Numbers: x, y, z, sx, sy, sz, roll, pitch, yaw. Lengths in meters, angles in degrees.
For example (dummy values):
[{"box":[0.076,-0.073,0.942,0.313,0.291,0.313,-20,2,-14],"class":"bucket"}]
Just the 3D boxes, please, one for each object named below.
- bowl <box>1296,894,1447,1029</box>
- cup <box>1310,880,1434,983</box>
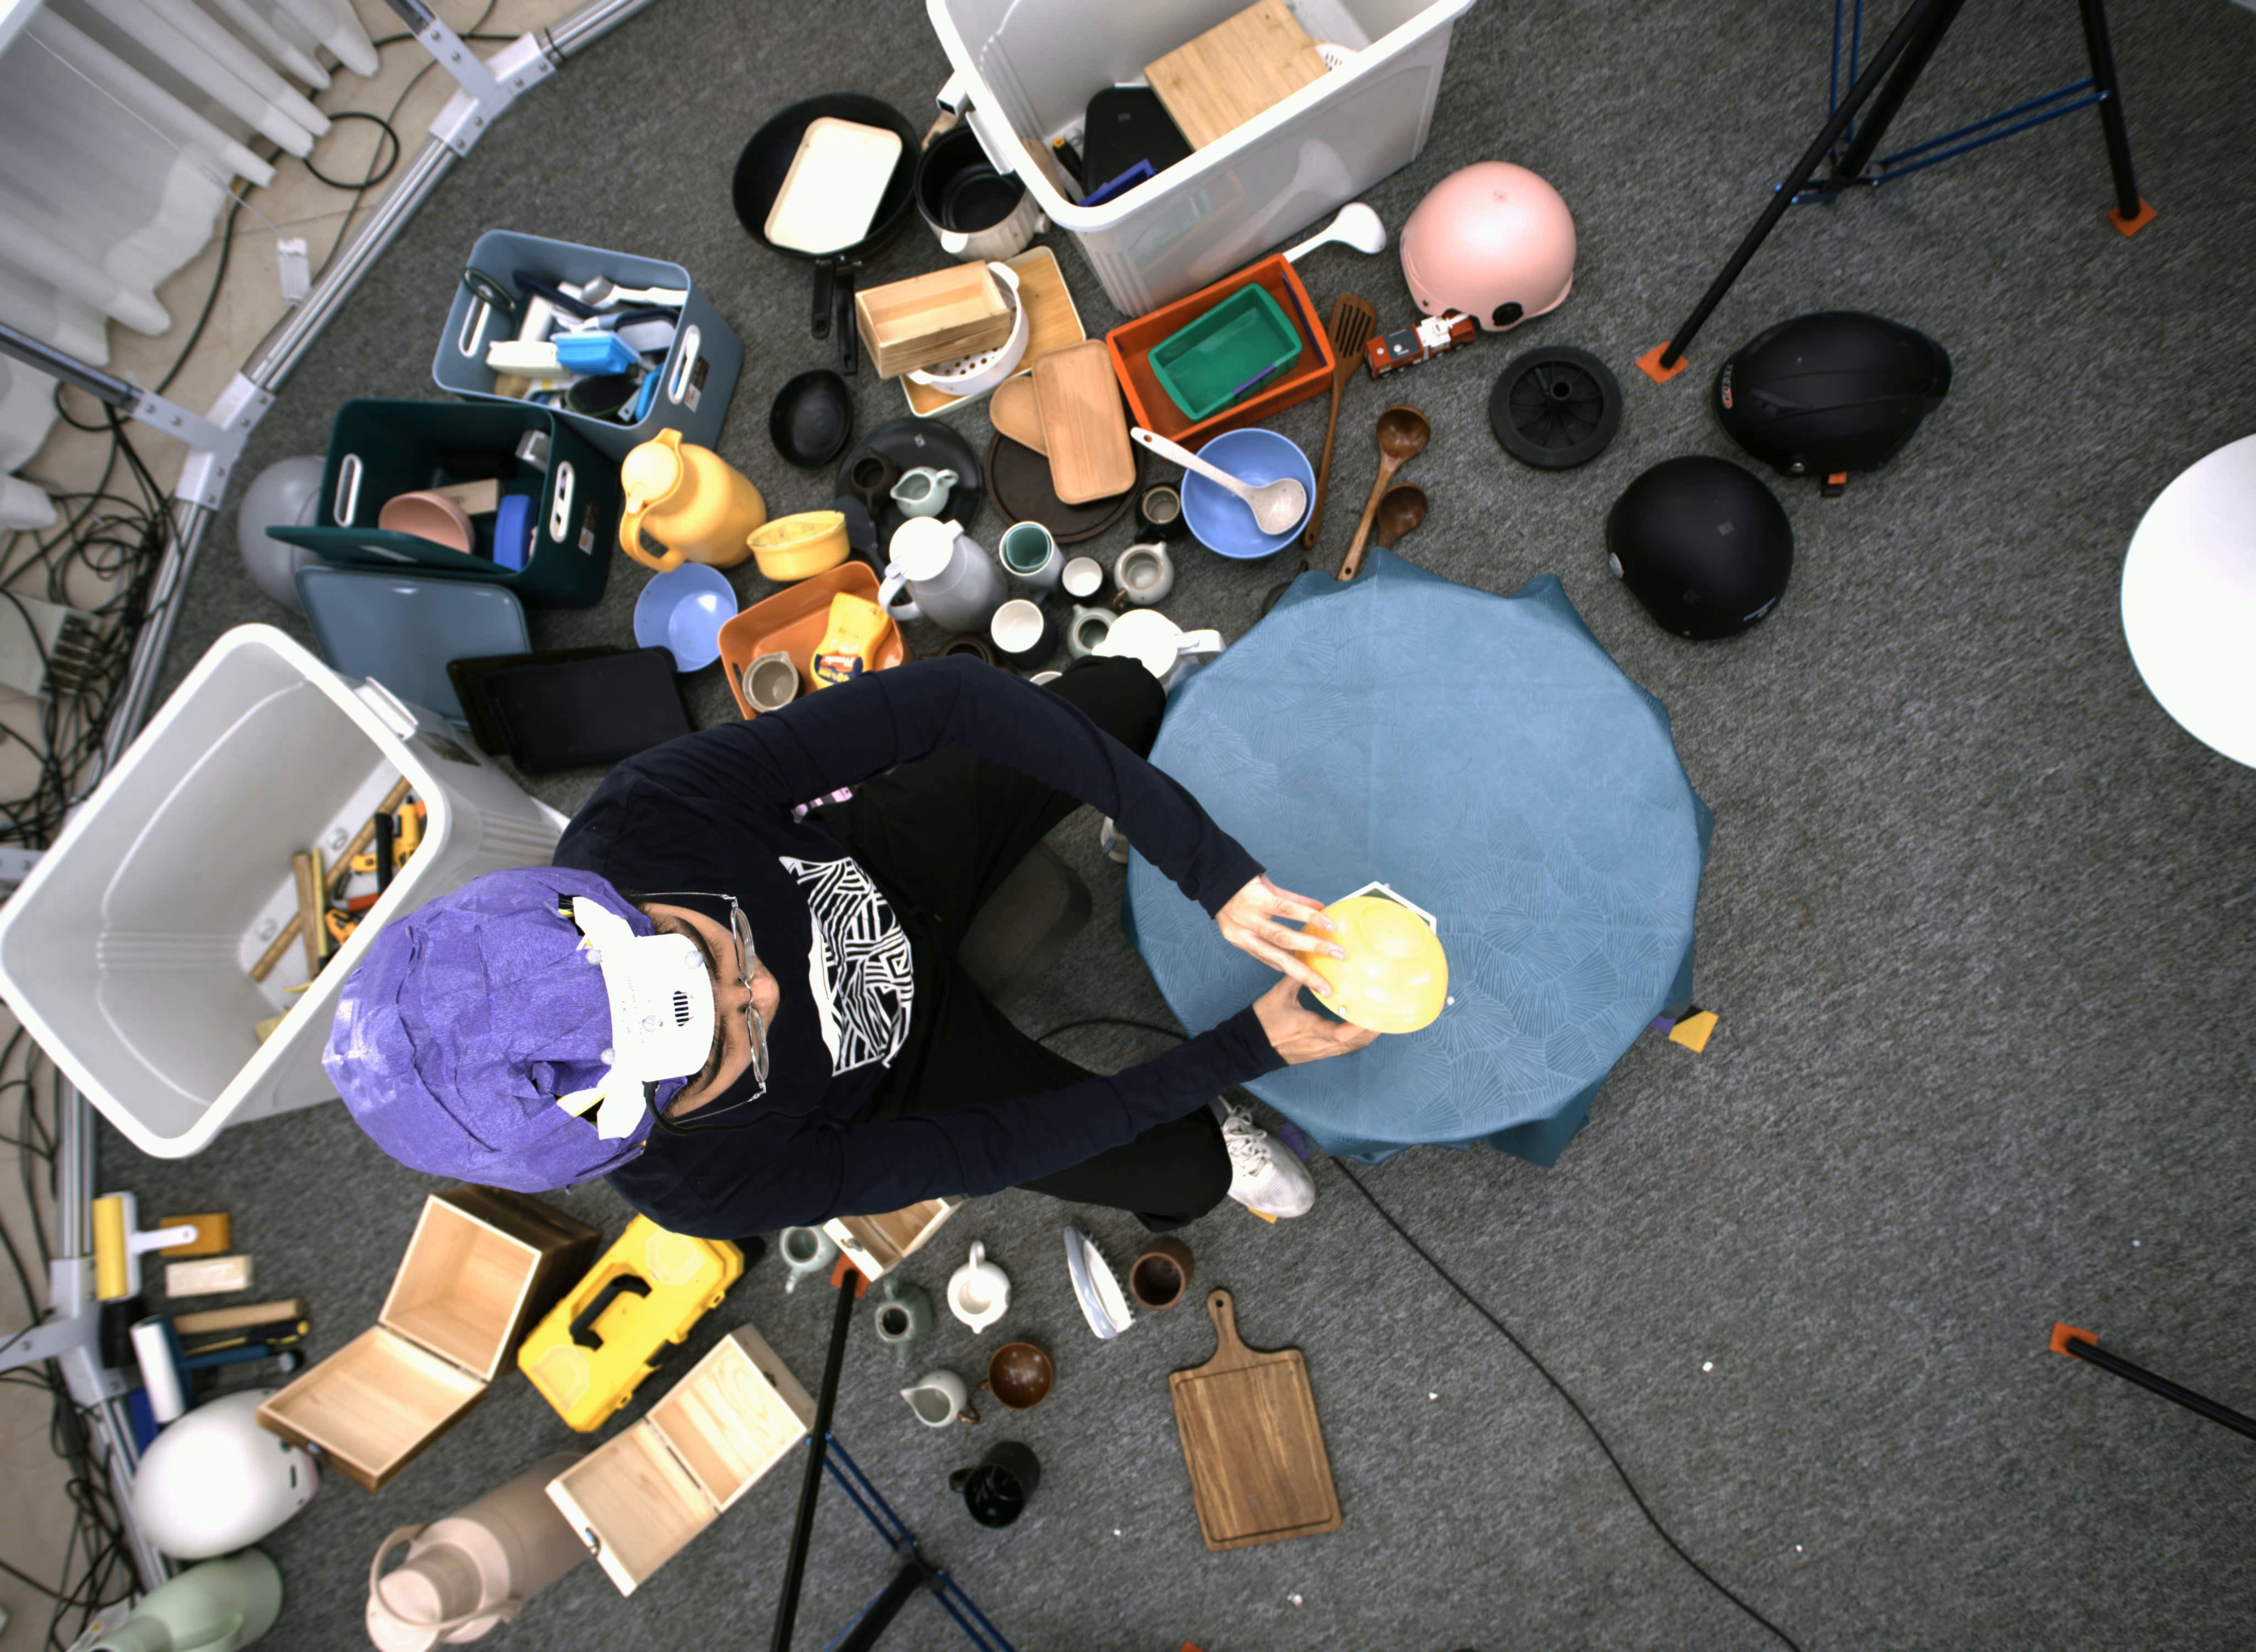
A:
[{"box":[0.227,0.106,1.235,0.145,0.142,0.062,31,133,11],"class":"bowl"},{"box":[0.245,0.123,1.378,0.115,0.163,0.130,1,85,11],"class":"cup"}]
